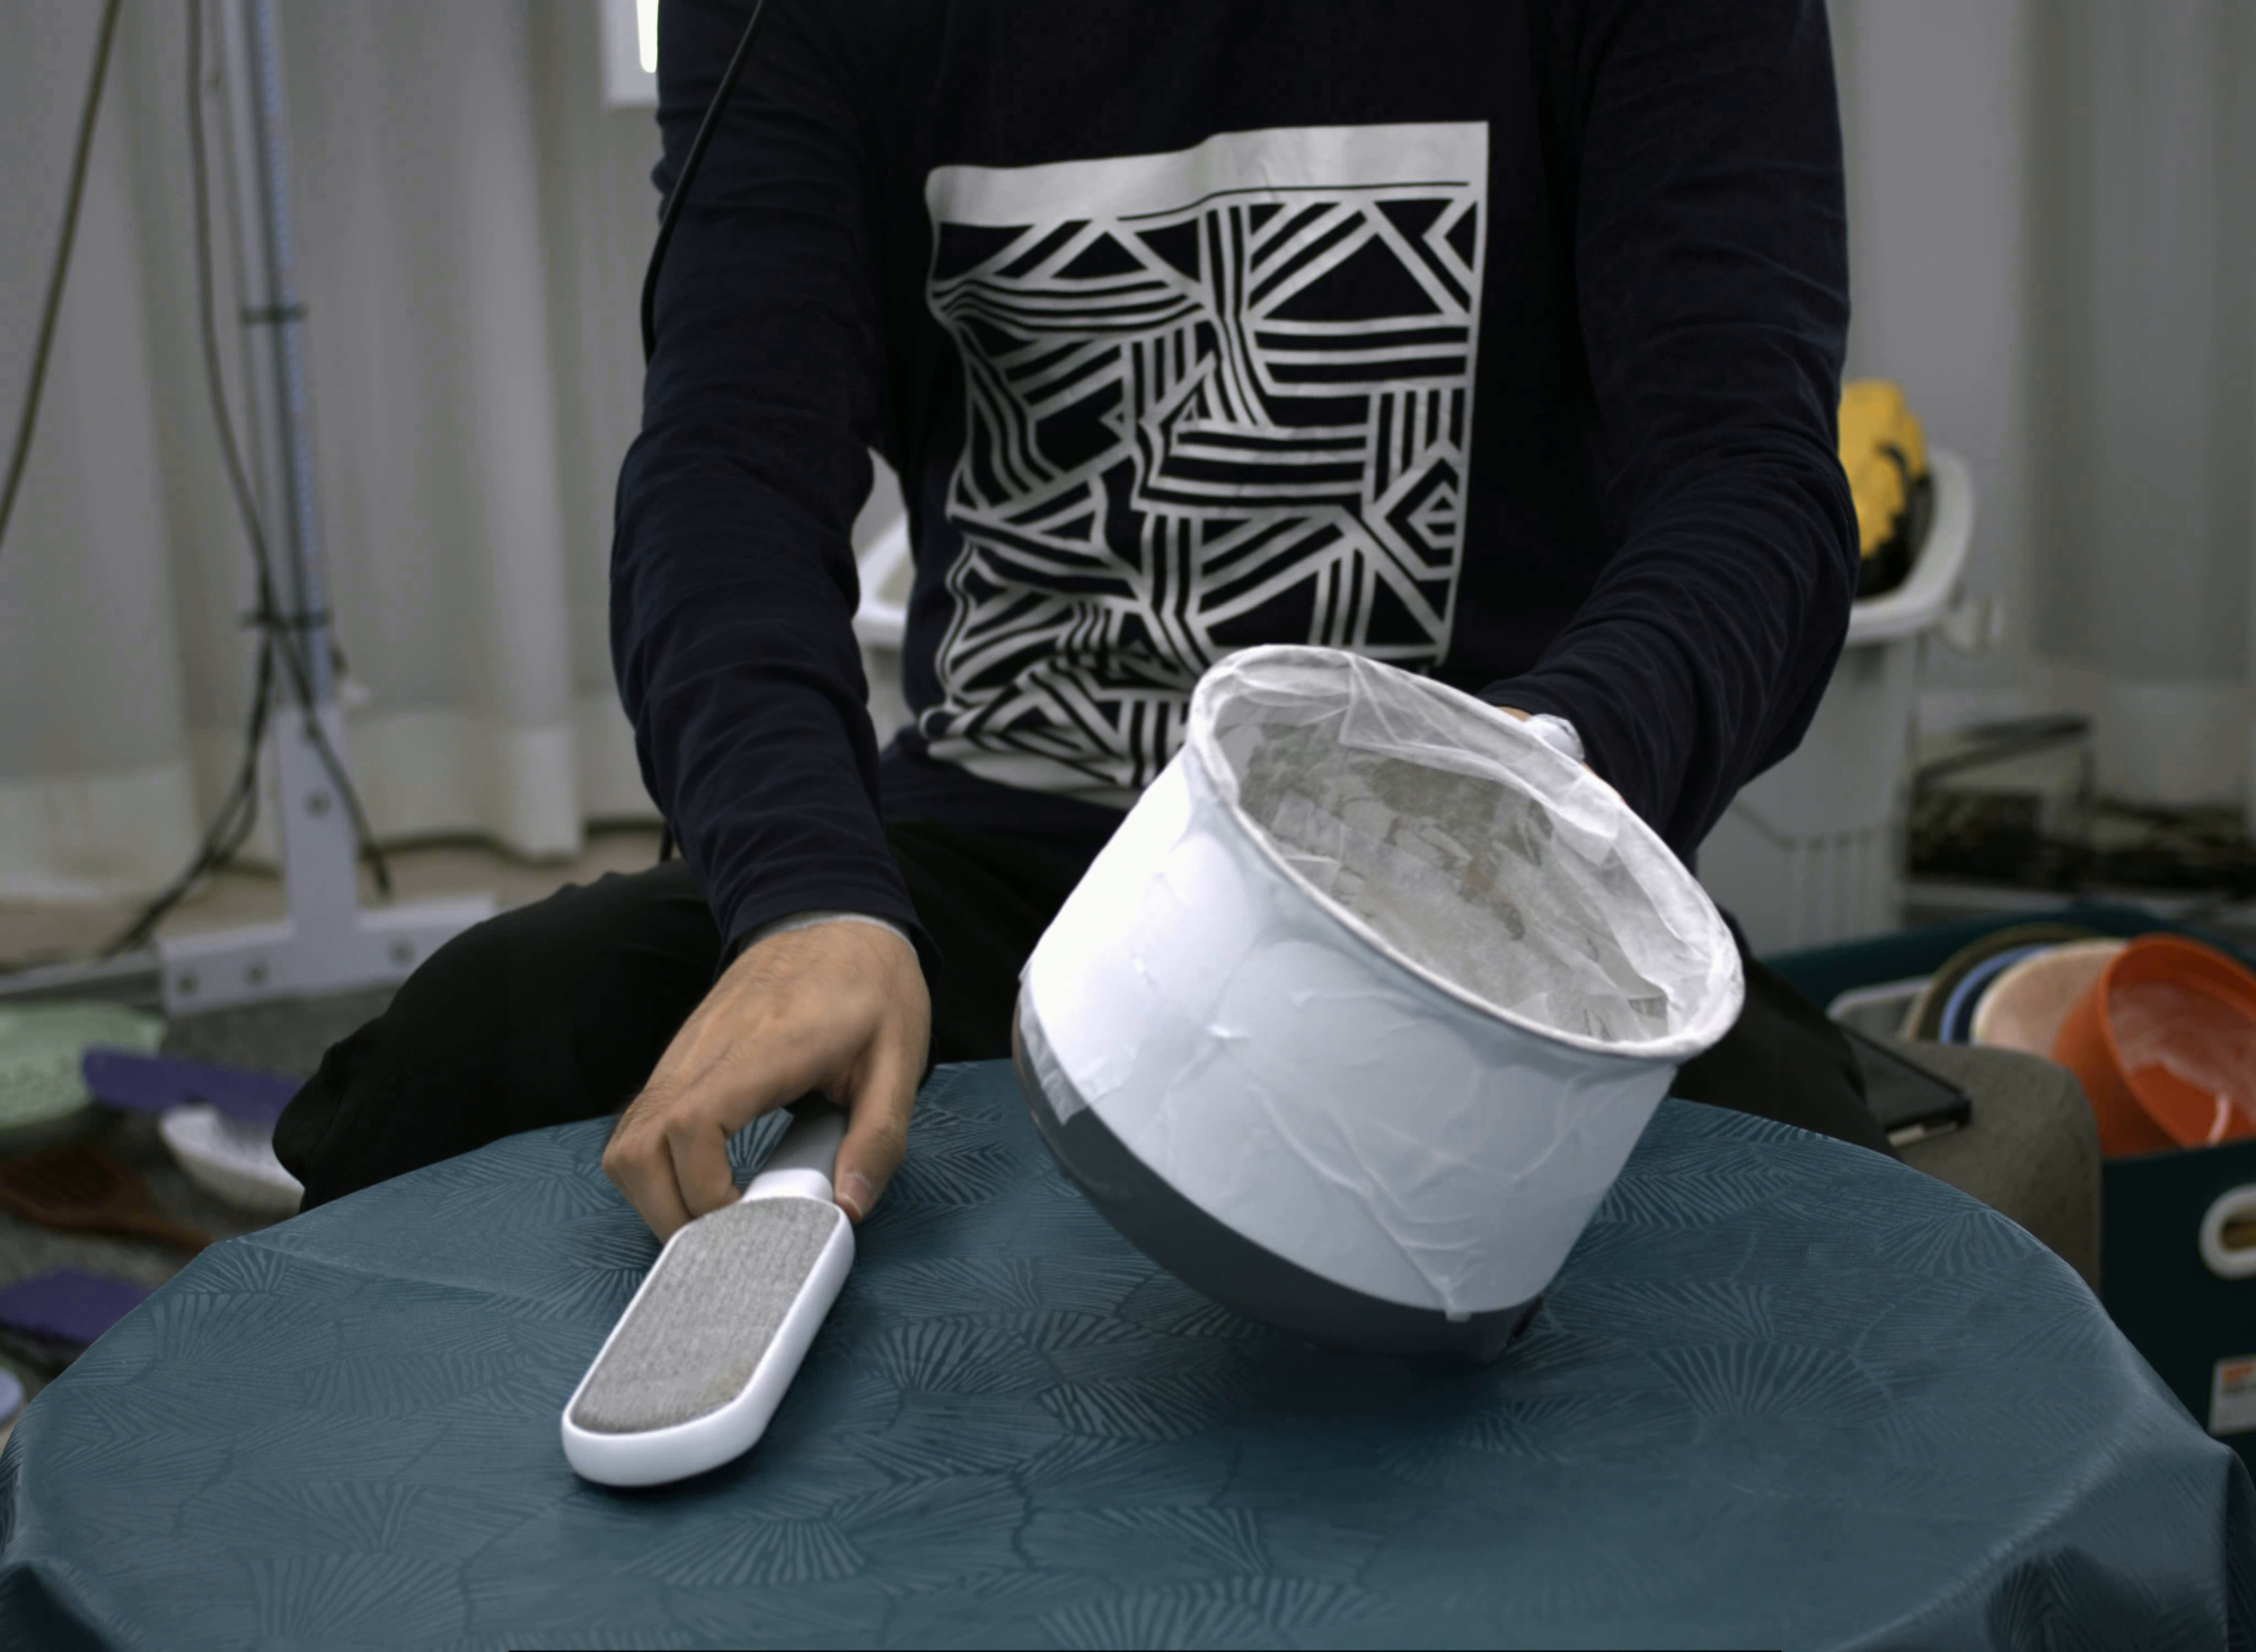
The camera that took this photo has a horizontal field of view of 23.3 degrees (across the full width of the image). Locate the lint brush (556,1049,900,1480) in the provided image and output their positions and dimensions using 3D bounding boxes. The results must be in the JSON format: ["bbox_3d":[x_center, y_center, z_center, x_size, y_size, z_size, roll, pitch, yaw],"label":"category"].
[{"bbox_3d":[-0.108,0.125,1.620,0.060,0.021,0.311,-12,15,13],"label":"lint brush"}]

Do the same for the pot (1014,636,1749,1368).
[{"bbox_3d":[0.075,0.042,1.570,0.179,0.136,0.235,35,27,4],"label":"pot"}]
